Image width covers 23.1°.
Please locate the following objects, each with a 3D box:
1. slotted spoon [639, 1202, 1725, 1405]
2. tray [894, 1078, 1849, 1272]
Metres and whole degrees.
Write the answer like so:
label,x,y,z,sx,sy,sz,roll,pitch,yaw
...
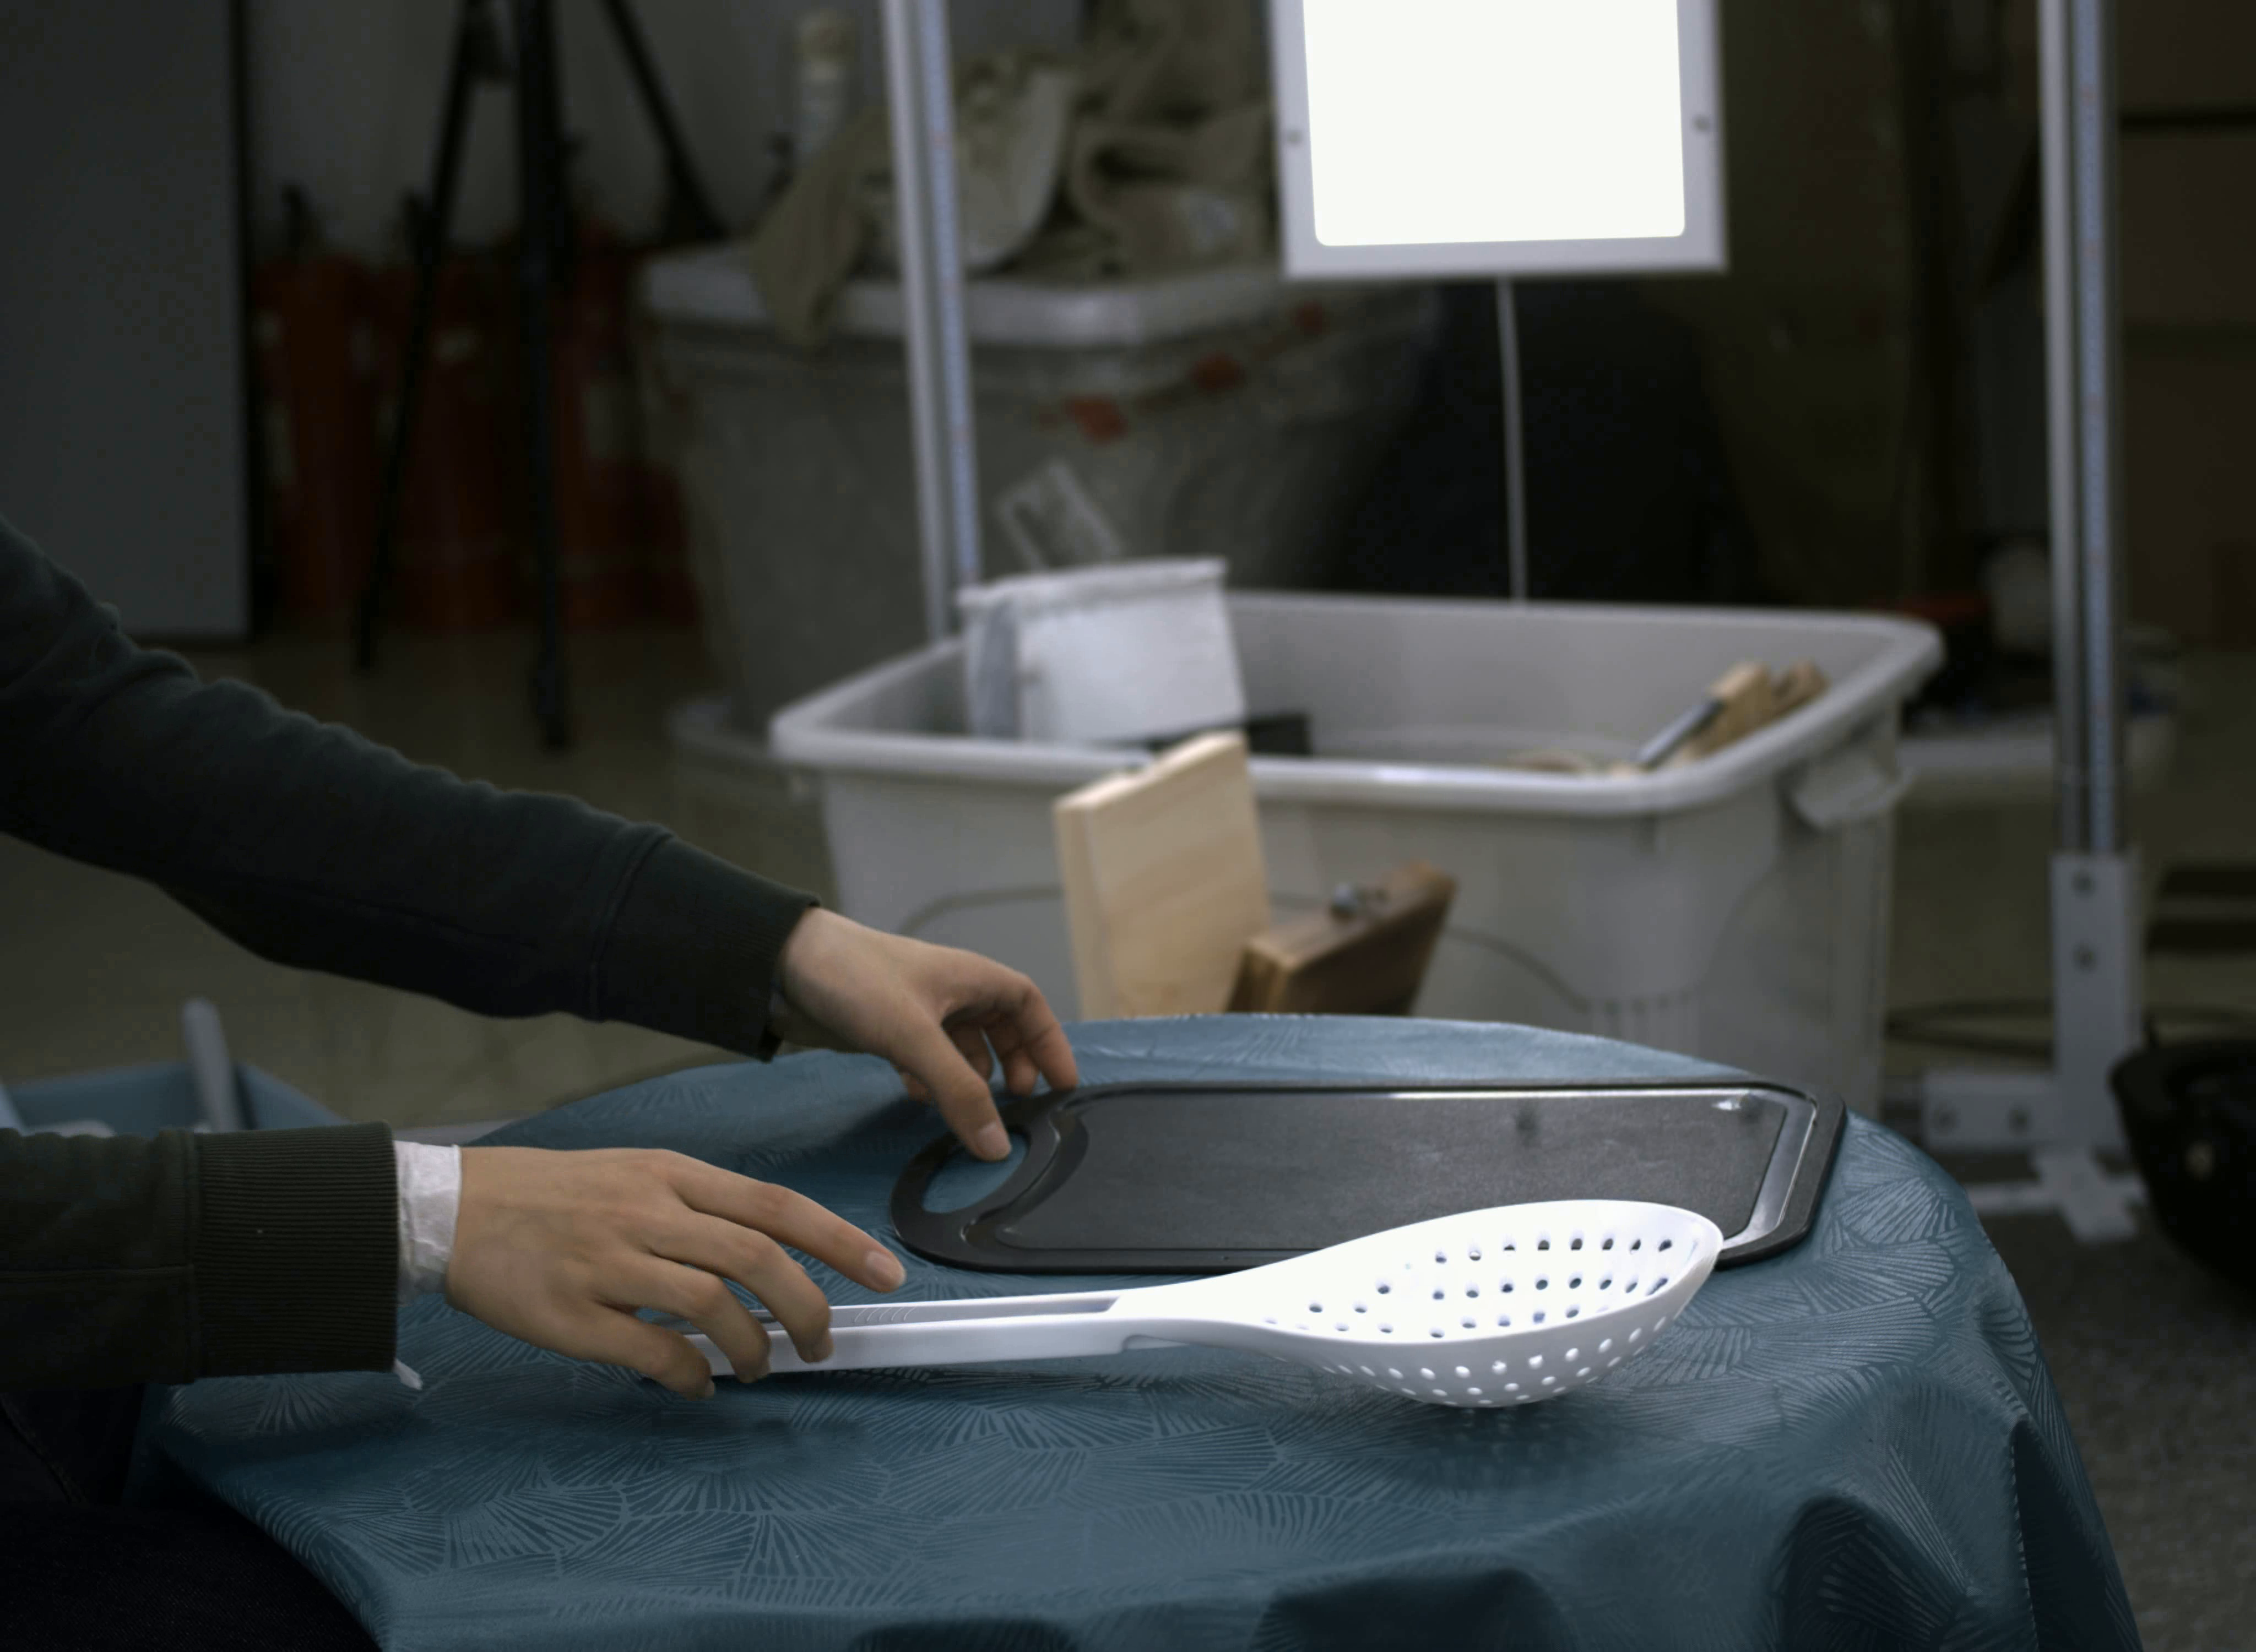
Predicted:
label,x,y,z,sx,sy,sz,roll,pitch,yaw
slotted spoon,0.012,0.150,1.699,0.354,0.046,0.134,-1,12,19
tray,0.081,0.117,1.892,0.328,0.010,0.208,-1,14,15
